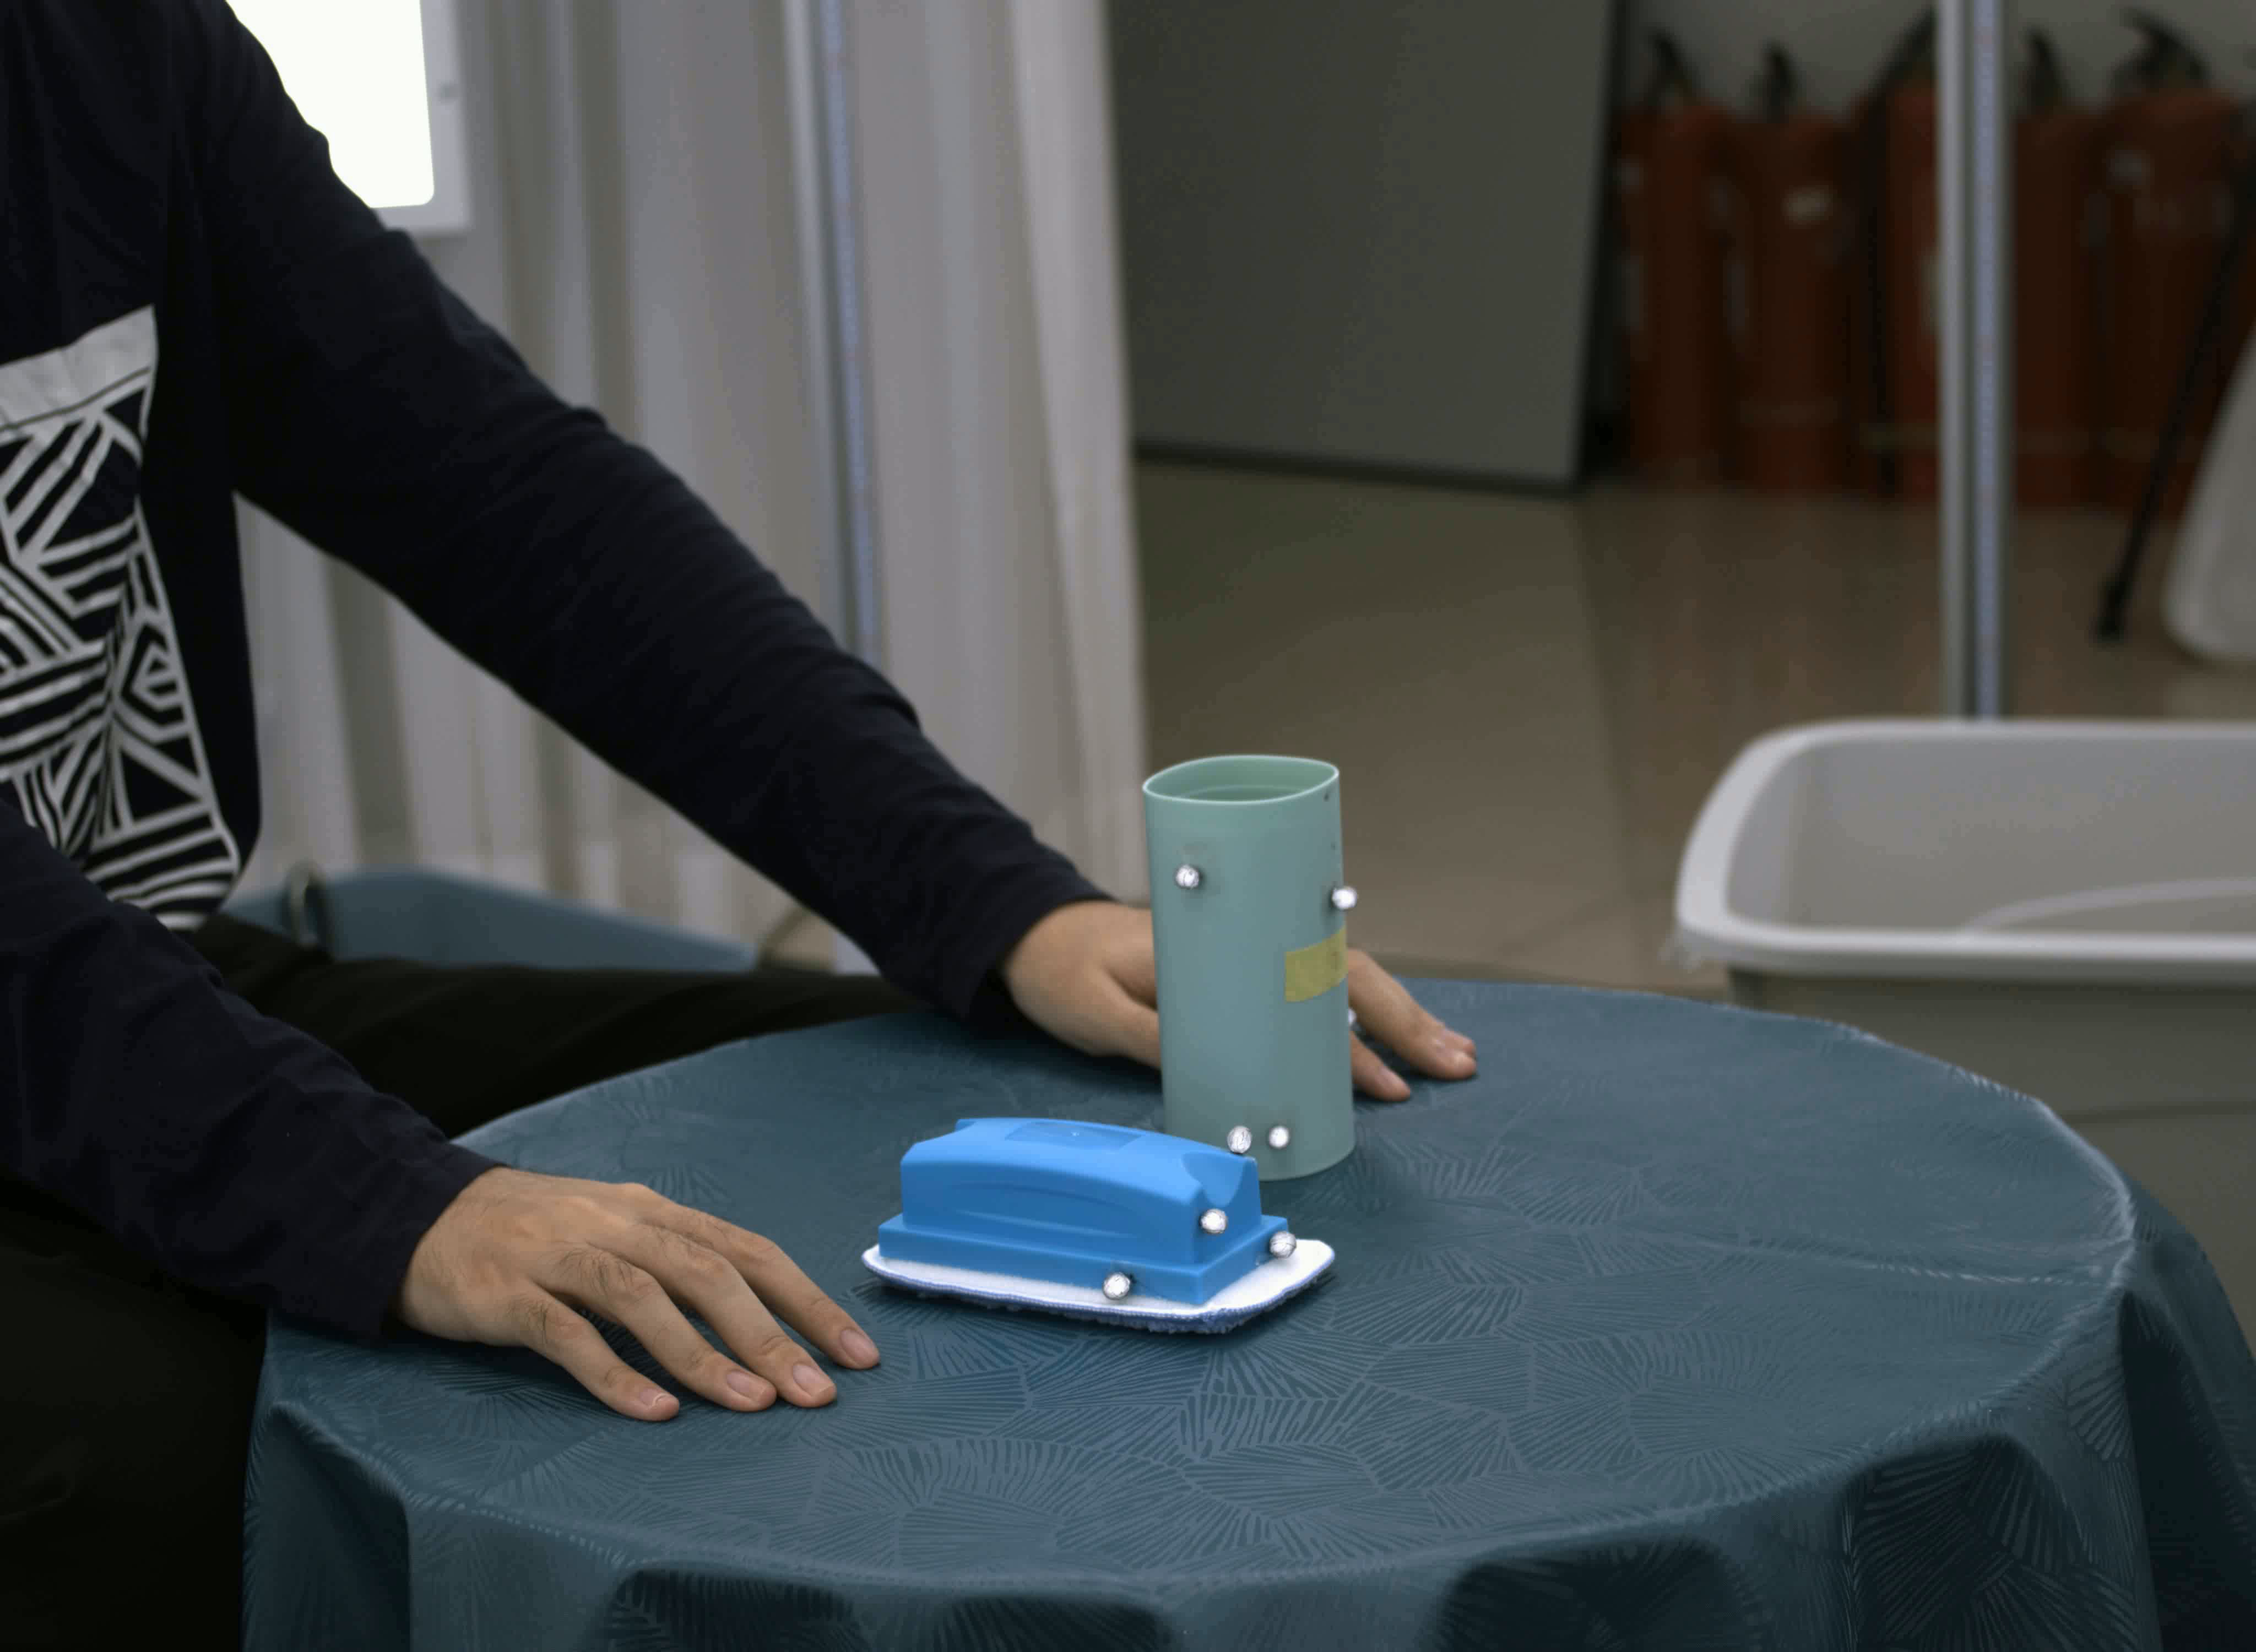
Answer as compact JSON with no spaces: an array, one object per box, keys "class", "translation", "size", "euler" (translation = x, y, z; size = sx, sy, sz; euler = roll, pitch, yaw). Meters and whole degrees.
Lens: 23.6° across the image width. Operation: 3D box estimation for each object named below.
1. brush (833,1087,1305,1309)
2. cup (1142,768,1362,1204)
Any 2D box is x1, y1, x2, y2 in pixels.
[{"class":"brush","translation":[-0.018,0.114,1.681],"size":[0.145,0.056,0.082],"euler":[9,15,34]},{"class":"cup","translation":[0.041,0.052,1.791],"size":[0.066,0.134,0.067],"euler":[-5,13,0]}]
